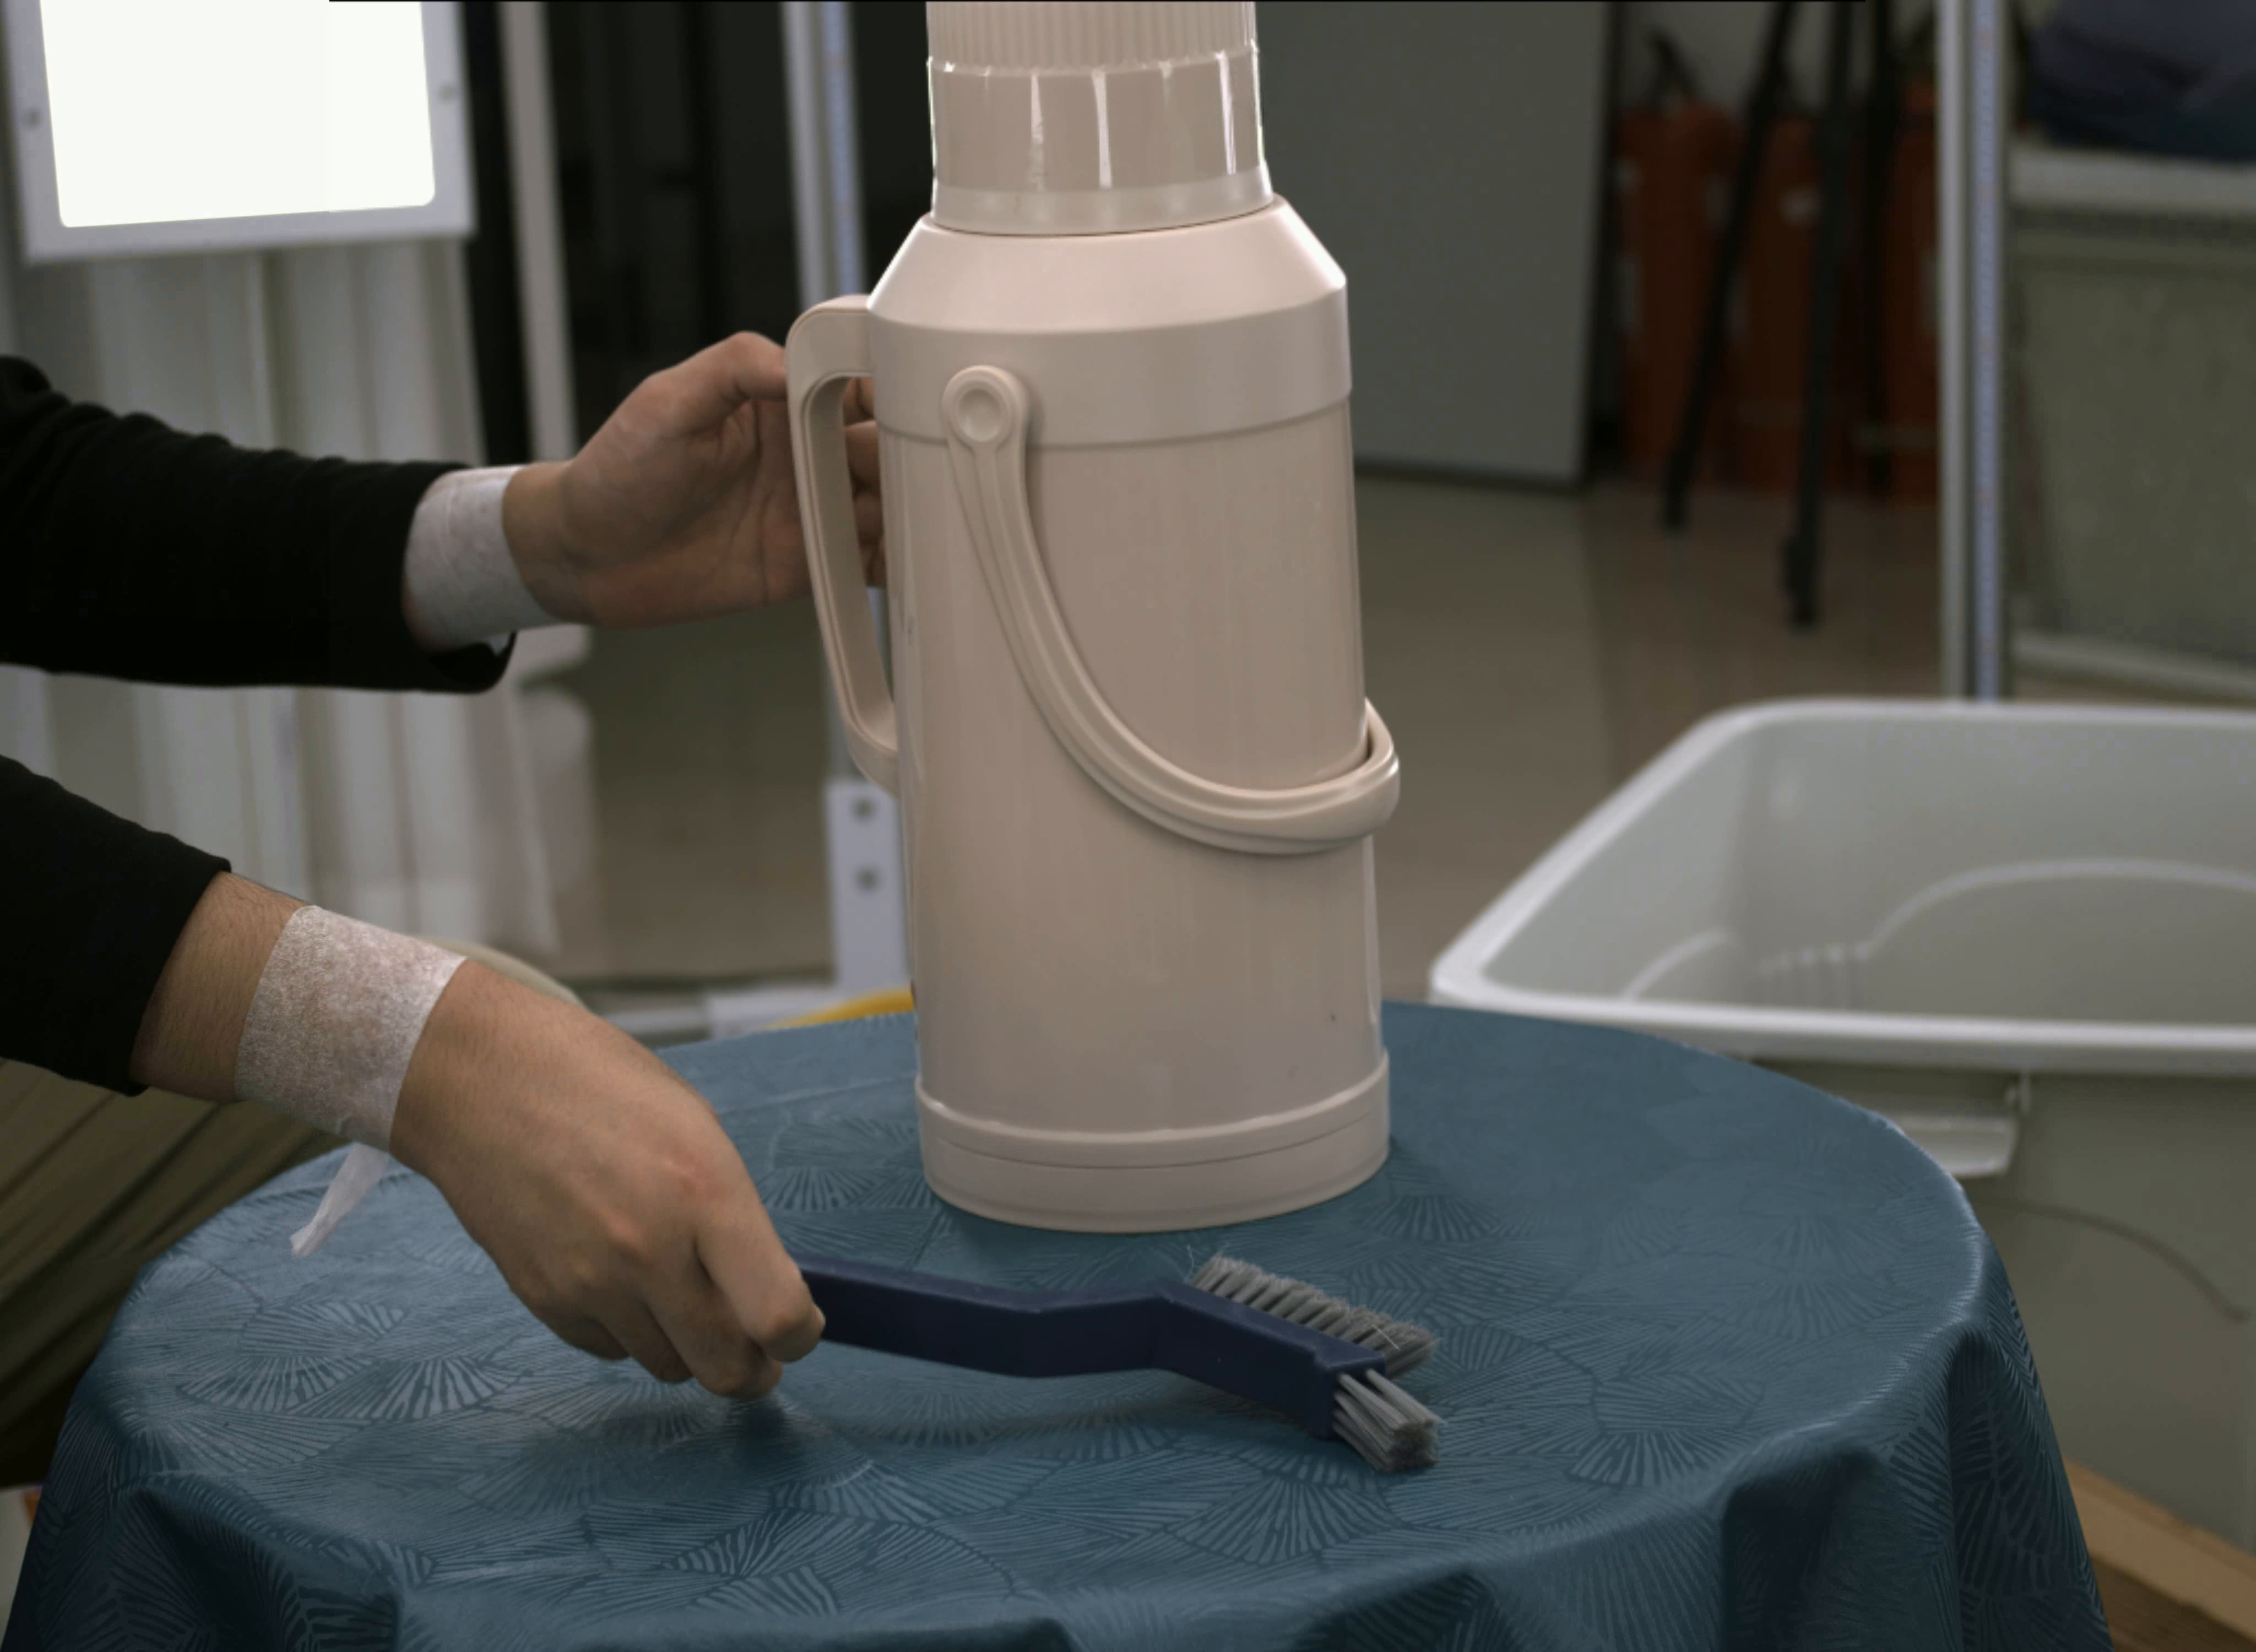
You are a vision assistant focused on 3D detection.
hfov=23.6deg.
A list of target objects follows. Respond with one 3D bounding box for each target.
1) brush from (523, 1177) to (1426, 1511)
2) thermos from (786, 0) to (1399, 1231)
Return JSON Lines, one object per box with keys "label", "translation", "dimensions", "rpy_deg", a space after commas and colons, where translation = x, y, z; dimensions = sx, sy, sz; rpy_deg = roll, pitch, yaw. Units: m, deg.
{"label": "brush", "translation": [-0.048, 0.146, 1.554], "dimensions": [0.270, 0.034, 0.095], "rpy_deg": [6, 27, 7]}
{"label": "thermos", "translation": [-0.014, -0.083, 1.766], "dimensions": [0.207, 0.410, 0.173], "rpy_deg": [4, 17, 28]}
